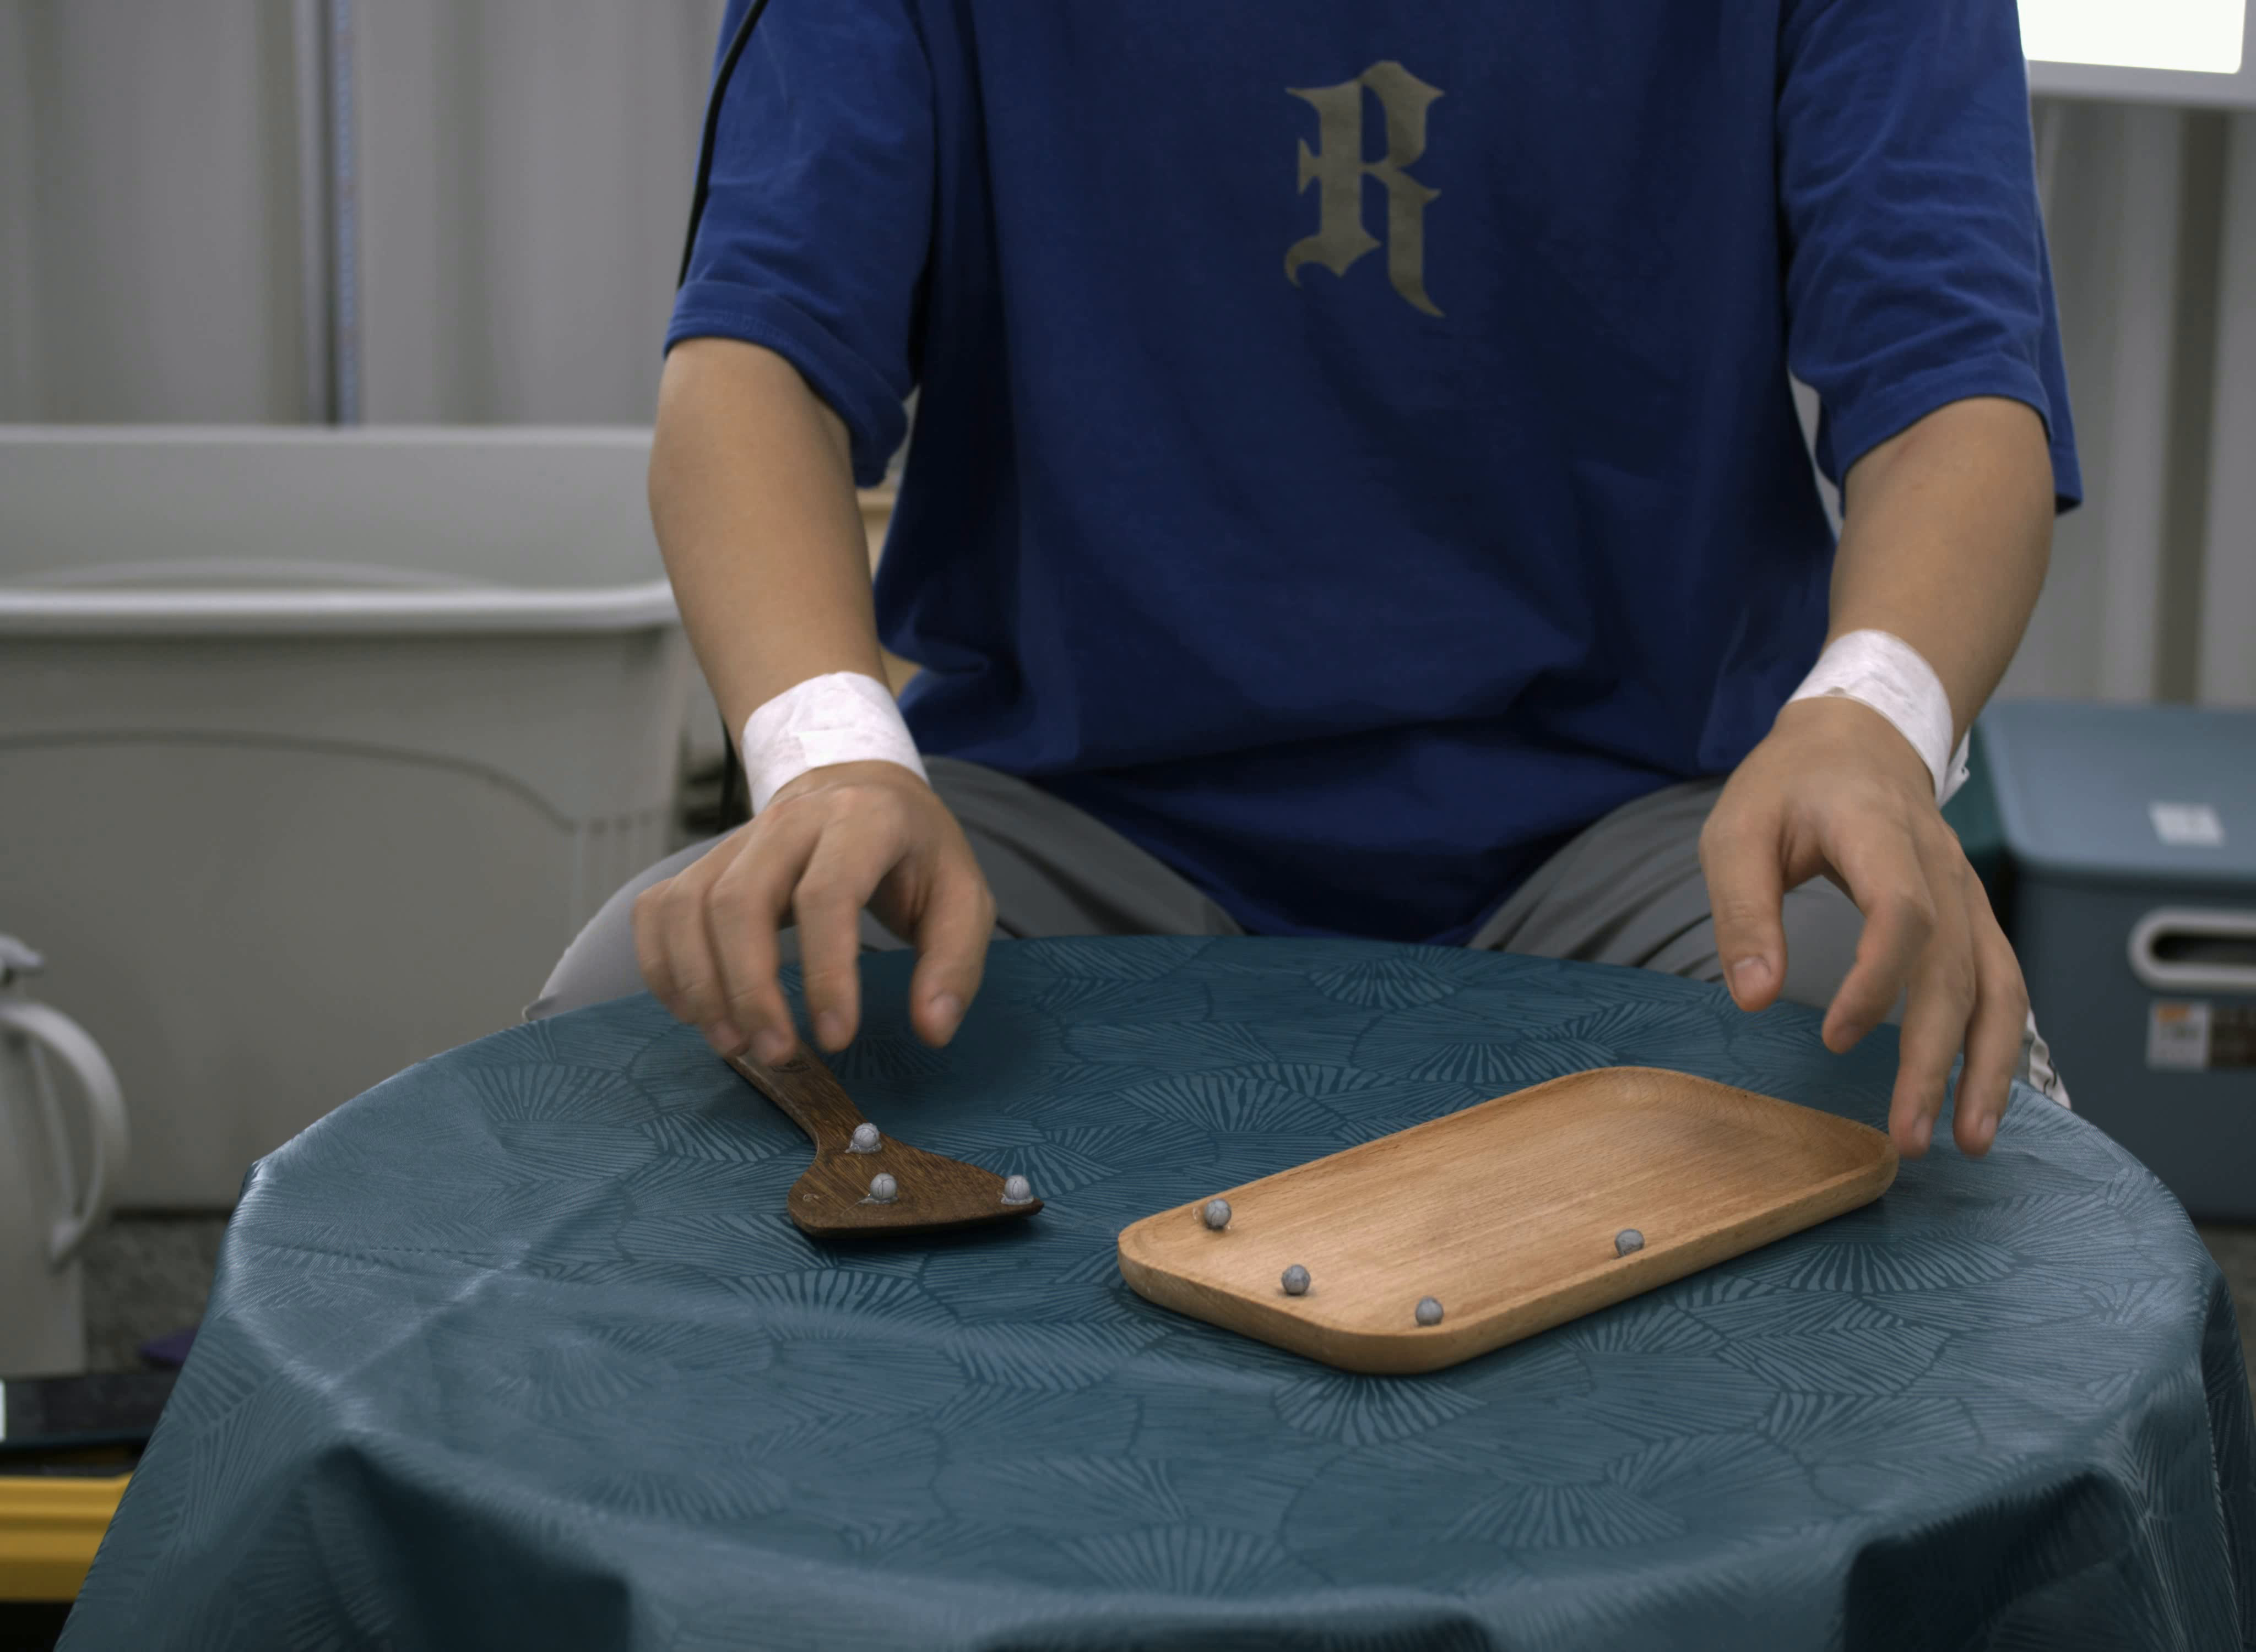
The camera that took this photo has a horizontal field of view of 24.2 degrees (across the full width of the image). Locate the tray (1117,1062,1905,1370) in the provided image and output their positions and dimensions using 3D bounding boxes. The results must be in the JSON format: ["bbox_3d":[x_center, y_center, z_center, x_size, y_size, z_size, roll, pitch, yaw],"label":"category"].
[{"bbox_3d":[0.118,0.115,1.584,0.252,0.023,0.129,-13,23,-43],"label":"tray"}]

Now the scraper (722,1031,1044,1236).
[{"bbox_3d":[-0.090,0.096,1.661,0.076,0.011,0.209,-4,15,-18],"label":"scraper"}]
